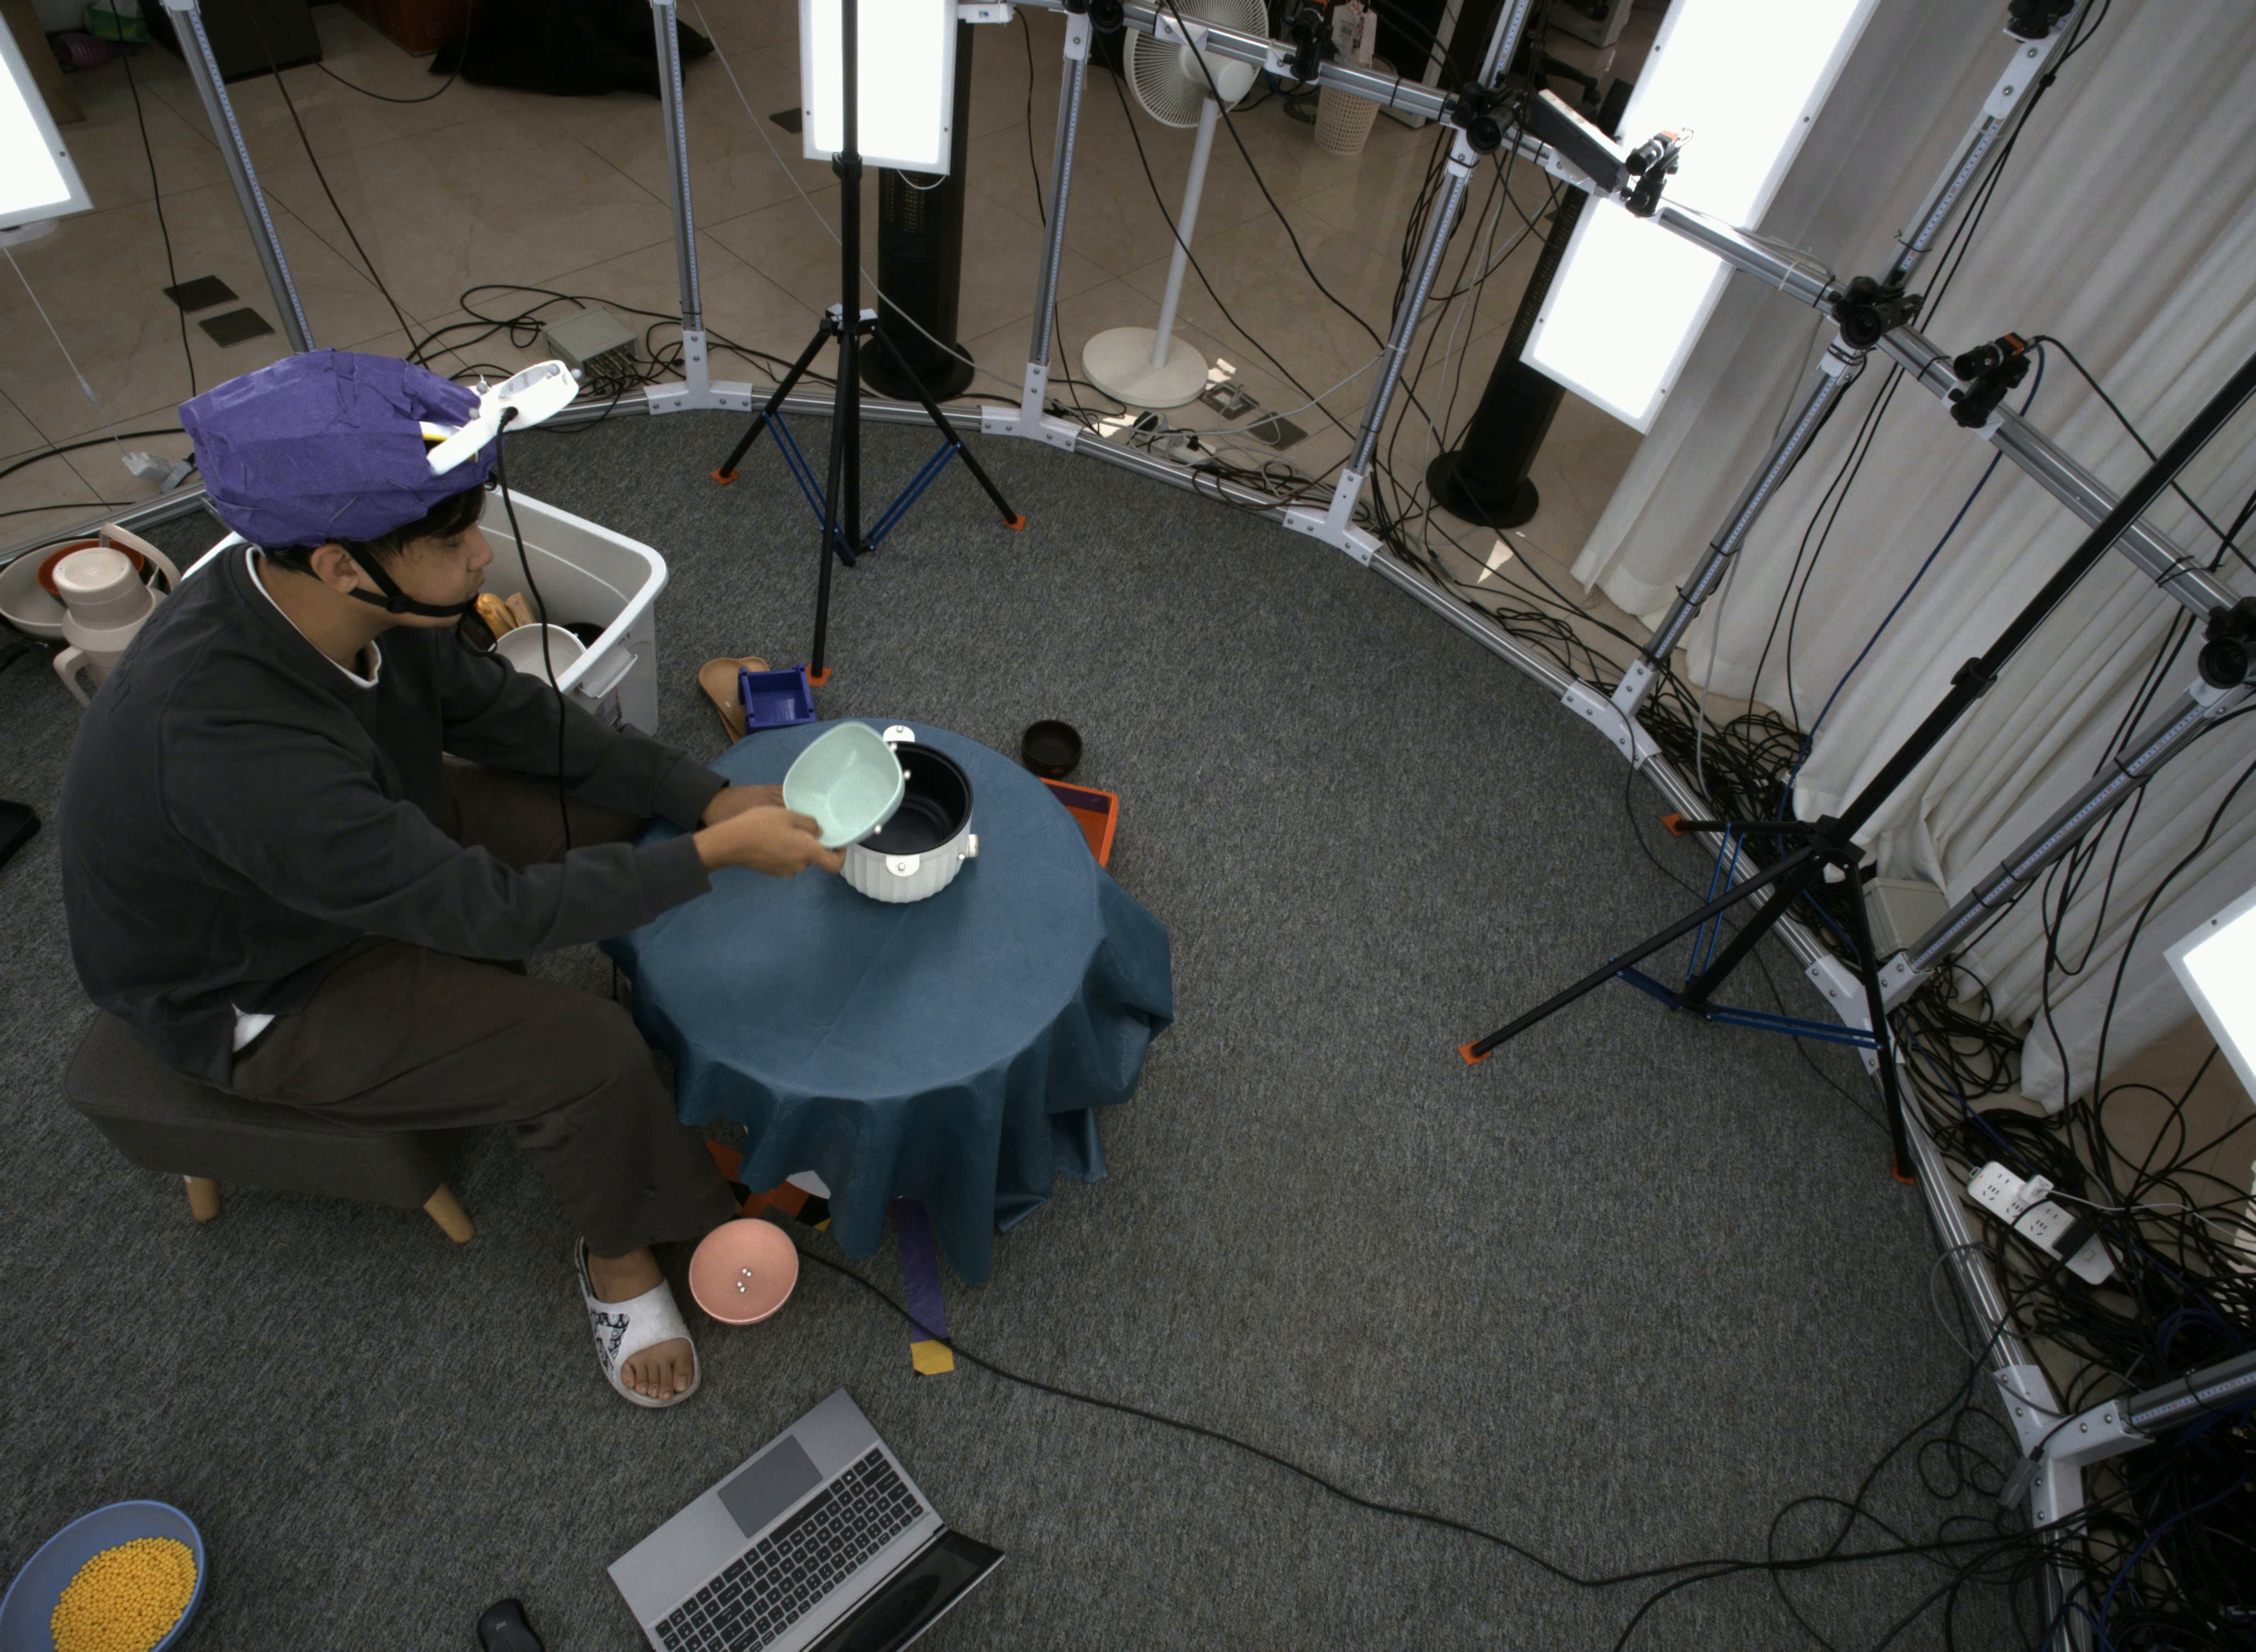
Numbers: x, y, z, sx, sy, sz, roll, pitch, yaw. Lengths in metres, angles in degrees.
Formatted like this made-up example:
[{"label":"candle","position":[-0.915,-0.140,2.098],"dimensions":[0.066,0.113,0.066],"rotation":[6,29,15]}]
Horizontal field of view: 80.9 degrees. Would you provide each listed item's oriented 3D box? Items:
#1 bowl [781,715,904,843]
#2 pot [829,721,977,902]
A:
[{"label":"bowl","position":[-0.317,-0.046,1.483],"dimensions":[0.148,0.060,0.150],"rotation":[-4,70,13]},{"label":"pot","position":[-0.289,-0.003,1.665],"dimensions":[0.190,0.146,0.235],"rotation":[-4,56,-11]}]
